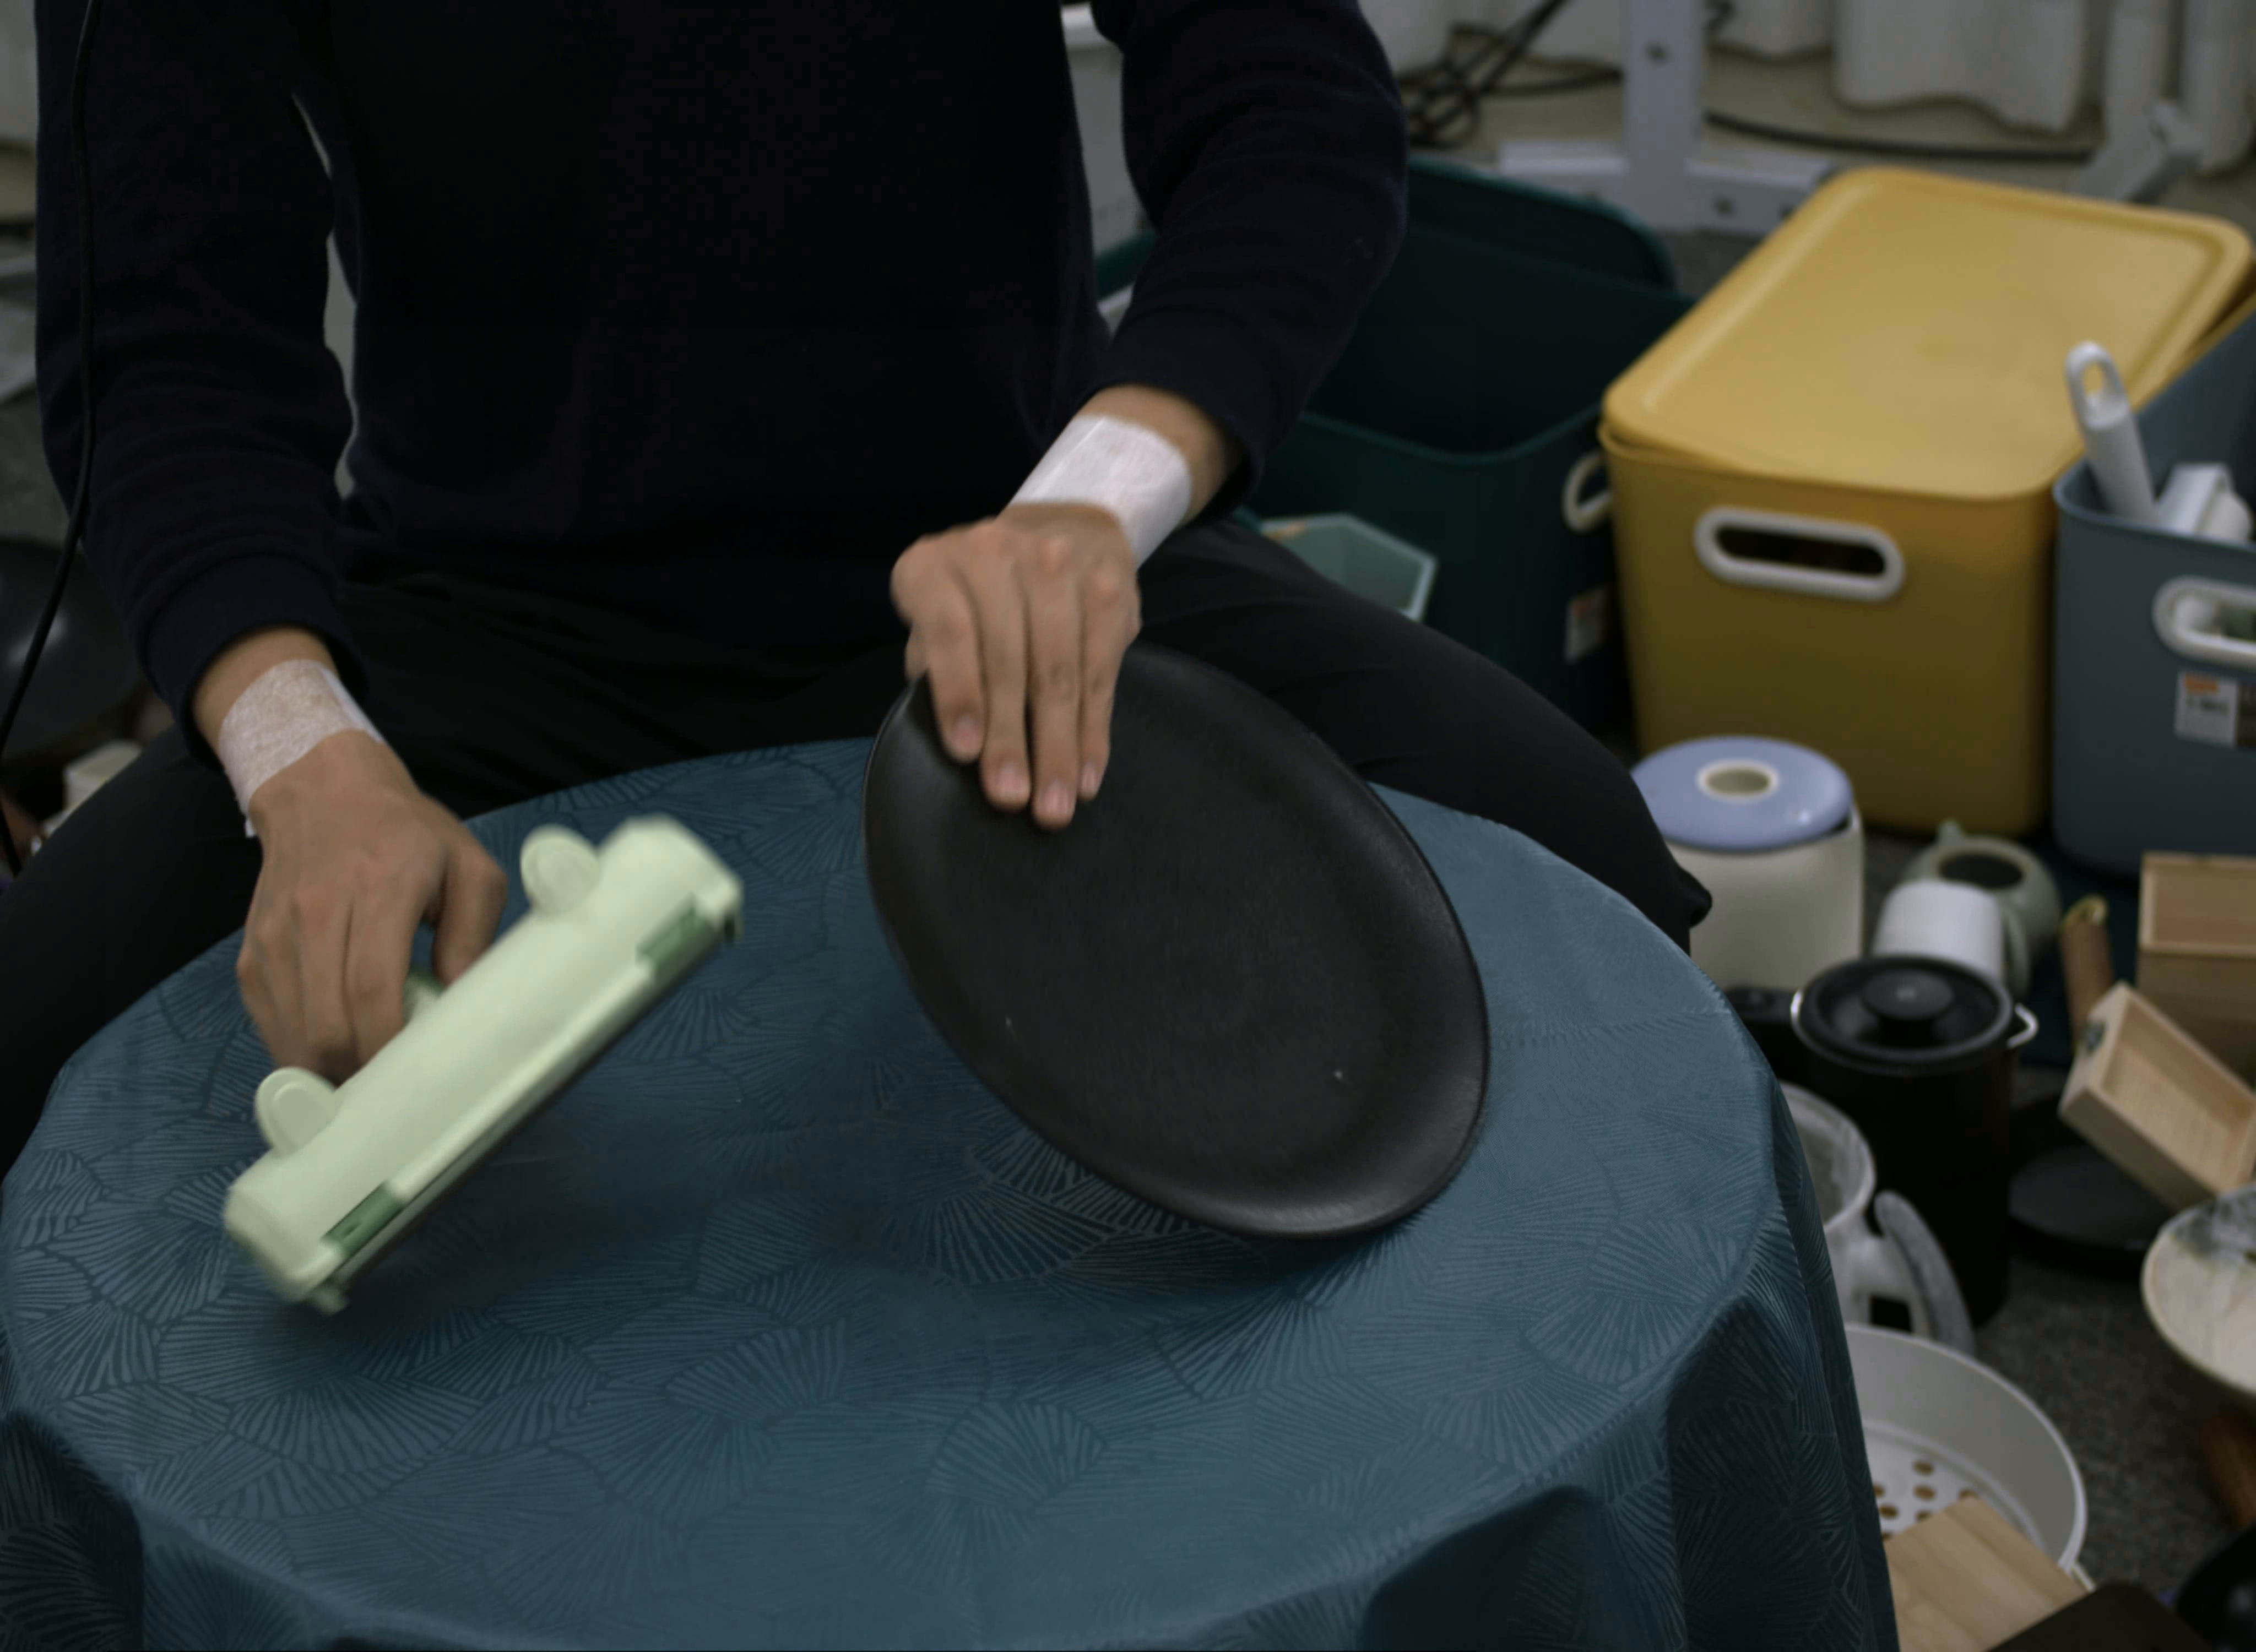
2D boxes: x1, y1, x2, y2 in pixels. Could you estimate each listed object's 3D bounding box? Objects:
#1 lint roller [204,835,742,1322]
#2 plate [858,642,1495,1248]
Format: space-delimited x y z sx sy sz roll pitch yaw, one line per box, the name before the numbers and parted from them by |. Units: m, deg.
lint roller | -0.247 0.056 1.858 0.200 0.081 0.183 -41 43 -19
plate | 0.015 0.042 1.868 0.243 0.023 0.249 22 43 -21
